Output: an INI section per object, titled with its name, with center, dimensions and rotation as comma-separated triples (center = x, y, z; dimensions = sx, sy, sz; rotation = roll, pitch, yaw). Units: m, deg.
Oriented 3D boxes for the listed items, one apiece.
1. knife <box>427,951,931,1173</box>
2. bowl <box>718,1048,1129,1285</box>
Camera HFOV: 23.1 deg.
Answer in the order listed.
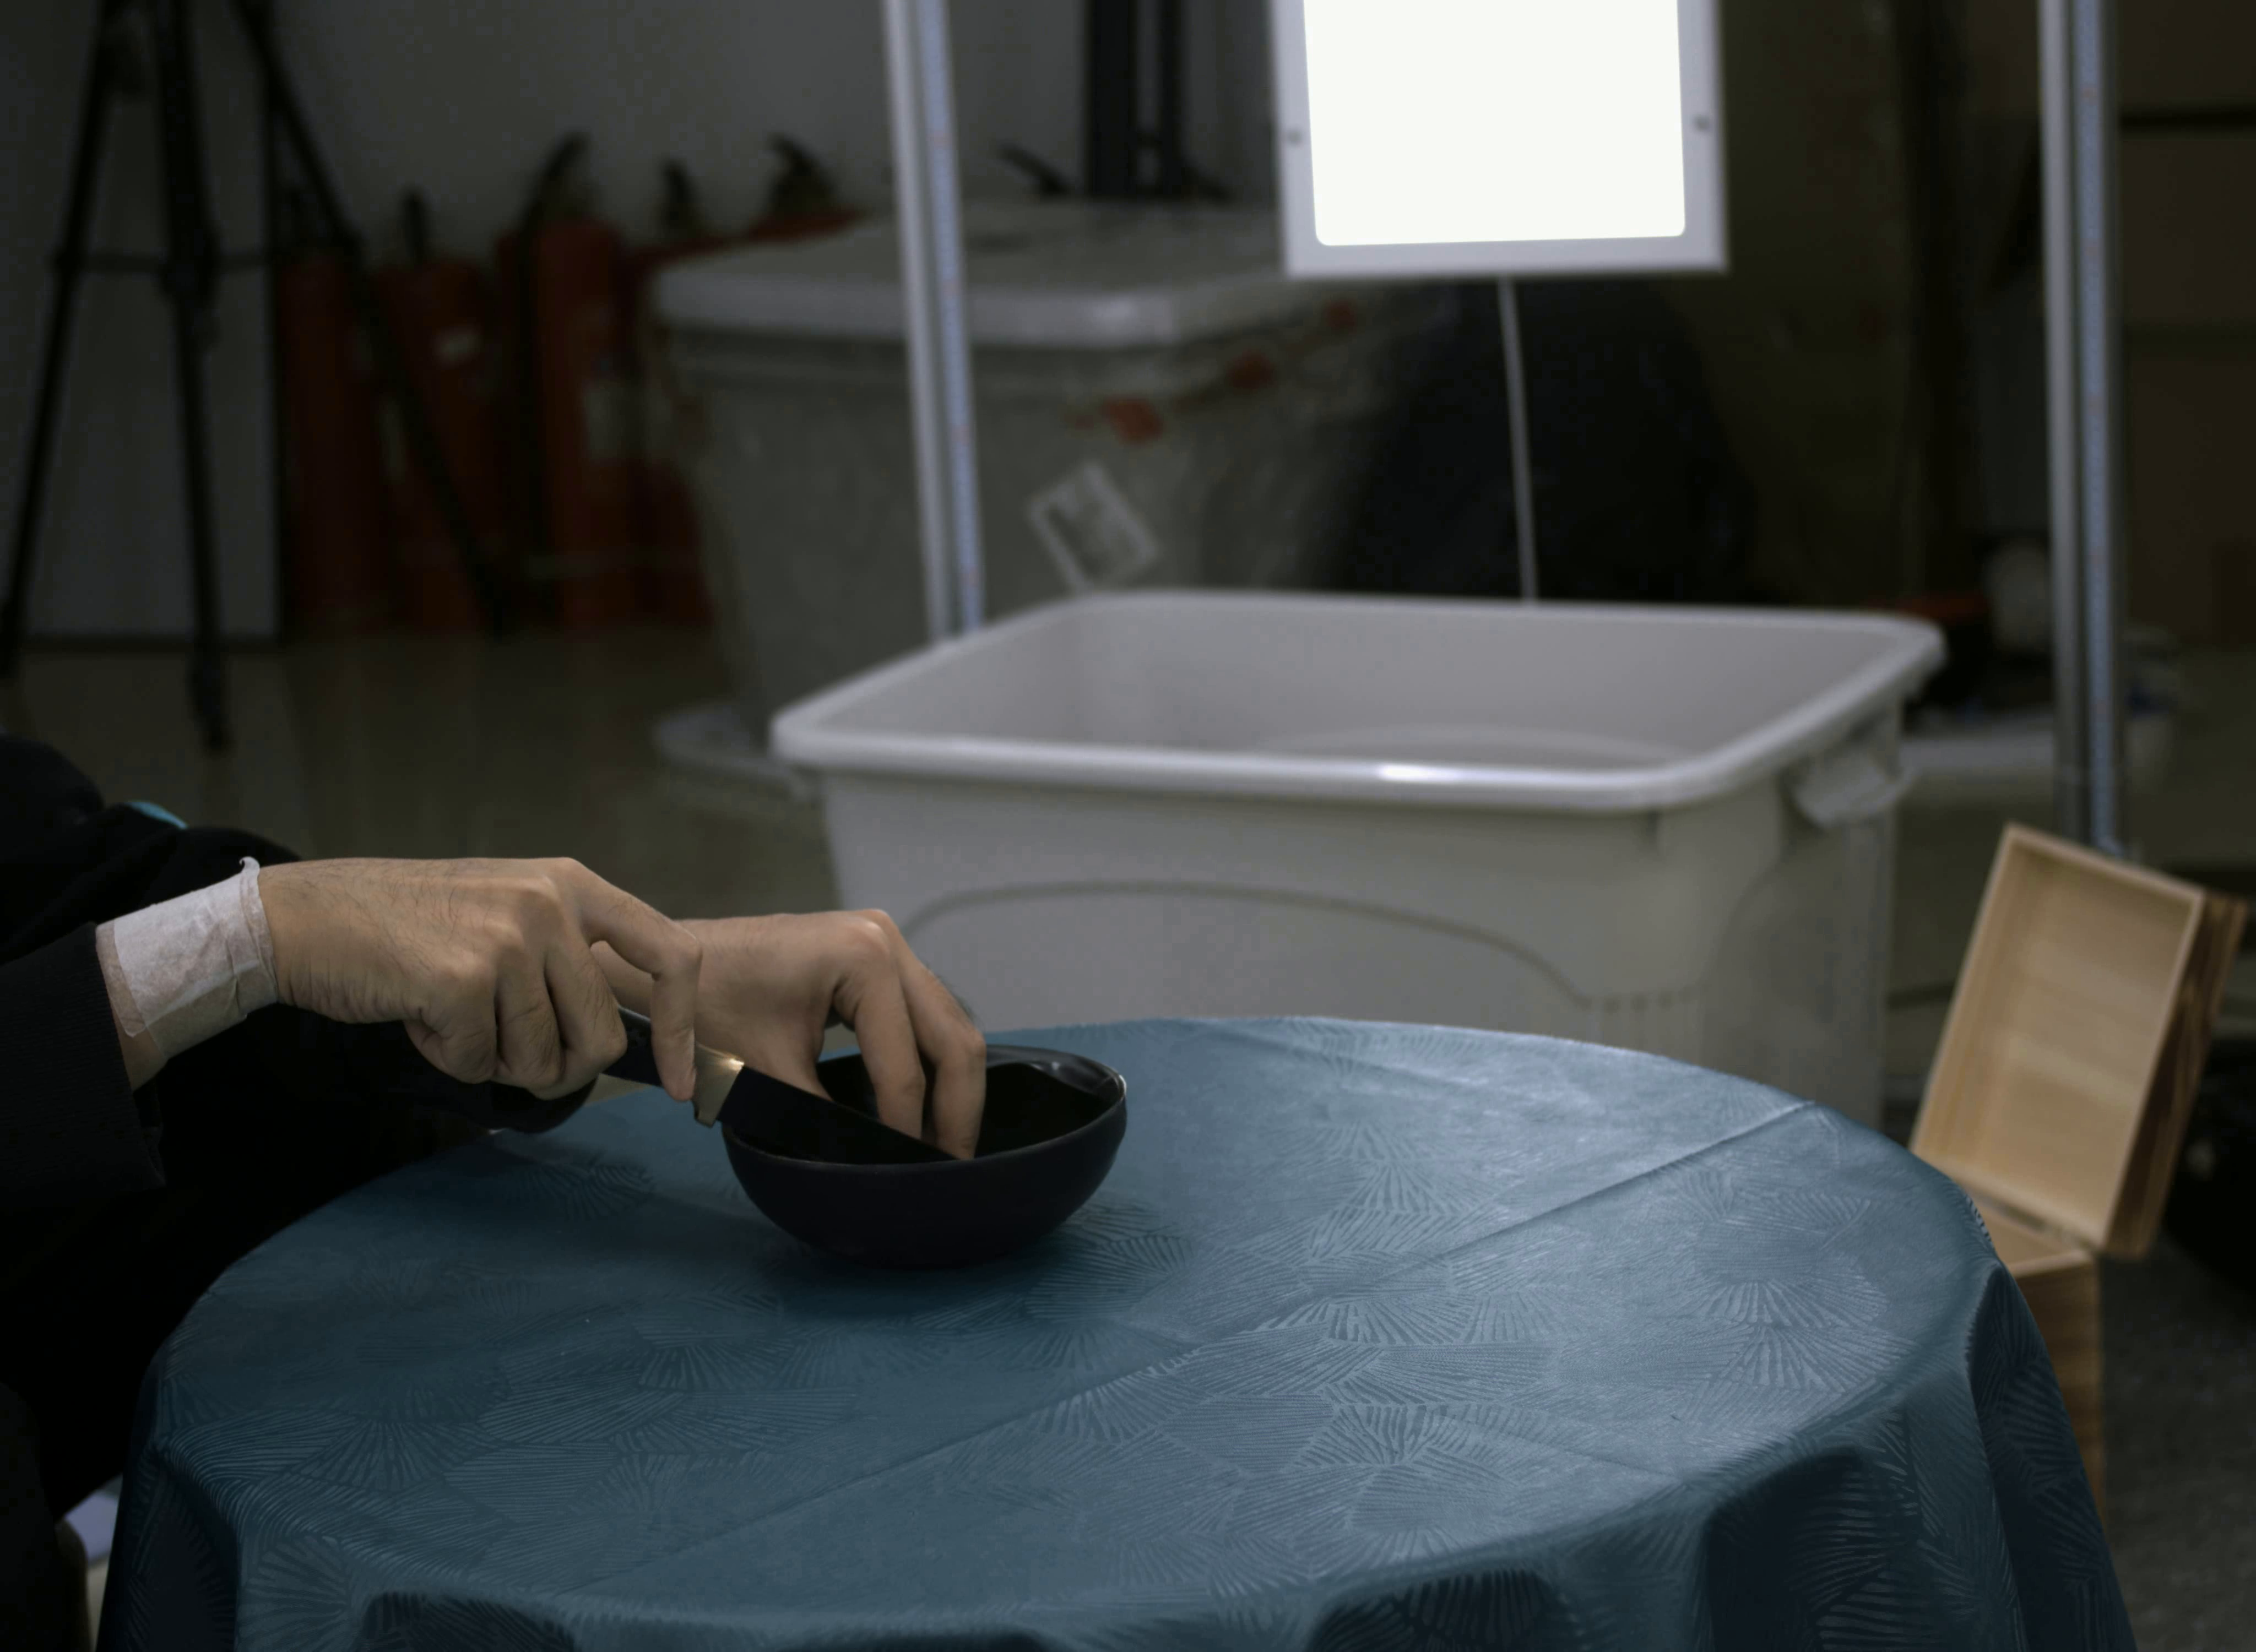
[knife]
center = -0.131, 0.091, 1.821
dimensions = 0.223, 0.026, 0.017
rotation = 24, 17, -14
[bowl]
center = -0.066, 0.119, 1.859
dimensions = 0.140, 0.050, 0.140
rotation = -9, 14, 1
